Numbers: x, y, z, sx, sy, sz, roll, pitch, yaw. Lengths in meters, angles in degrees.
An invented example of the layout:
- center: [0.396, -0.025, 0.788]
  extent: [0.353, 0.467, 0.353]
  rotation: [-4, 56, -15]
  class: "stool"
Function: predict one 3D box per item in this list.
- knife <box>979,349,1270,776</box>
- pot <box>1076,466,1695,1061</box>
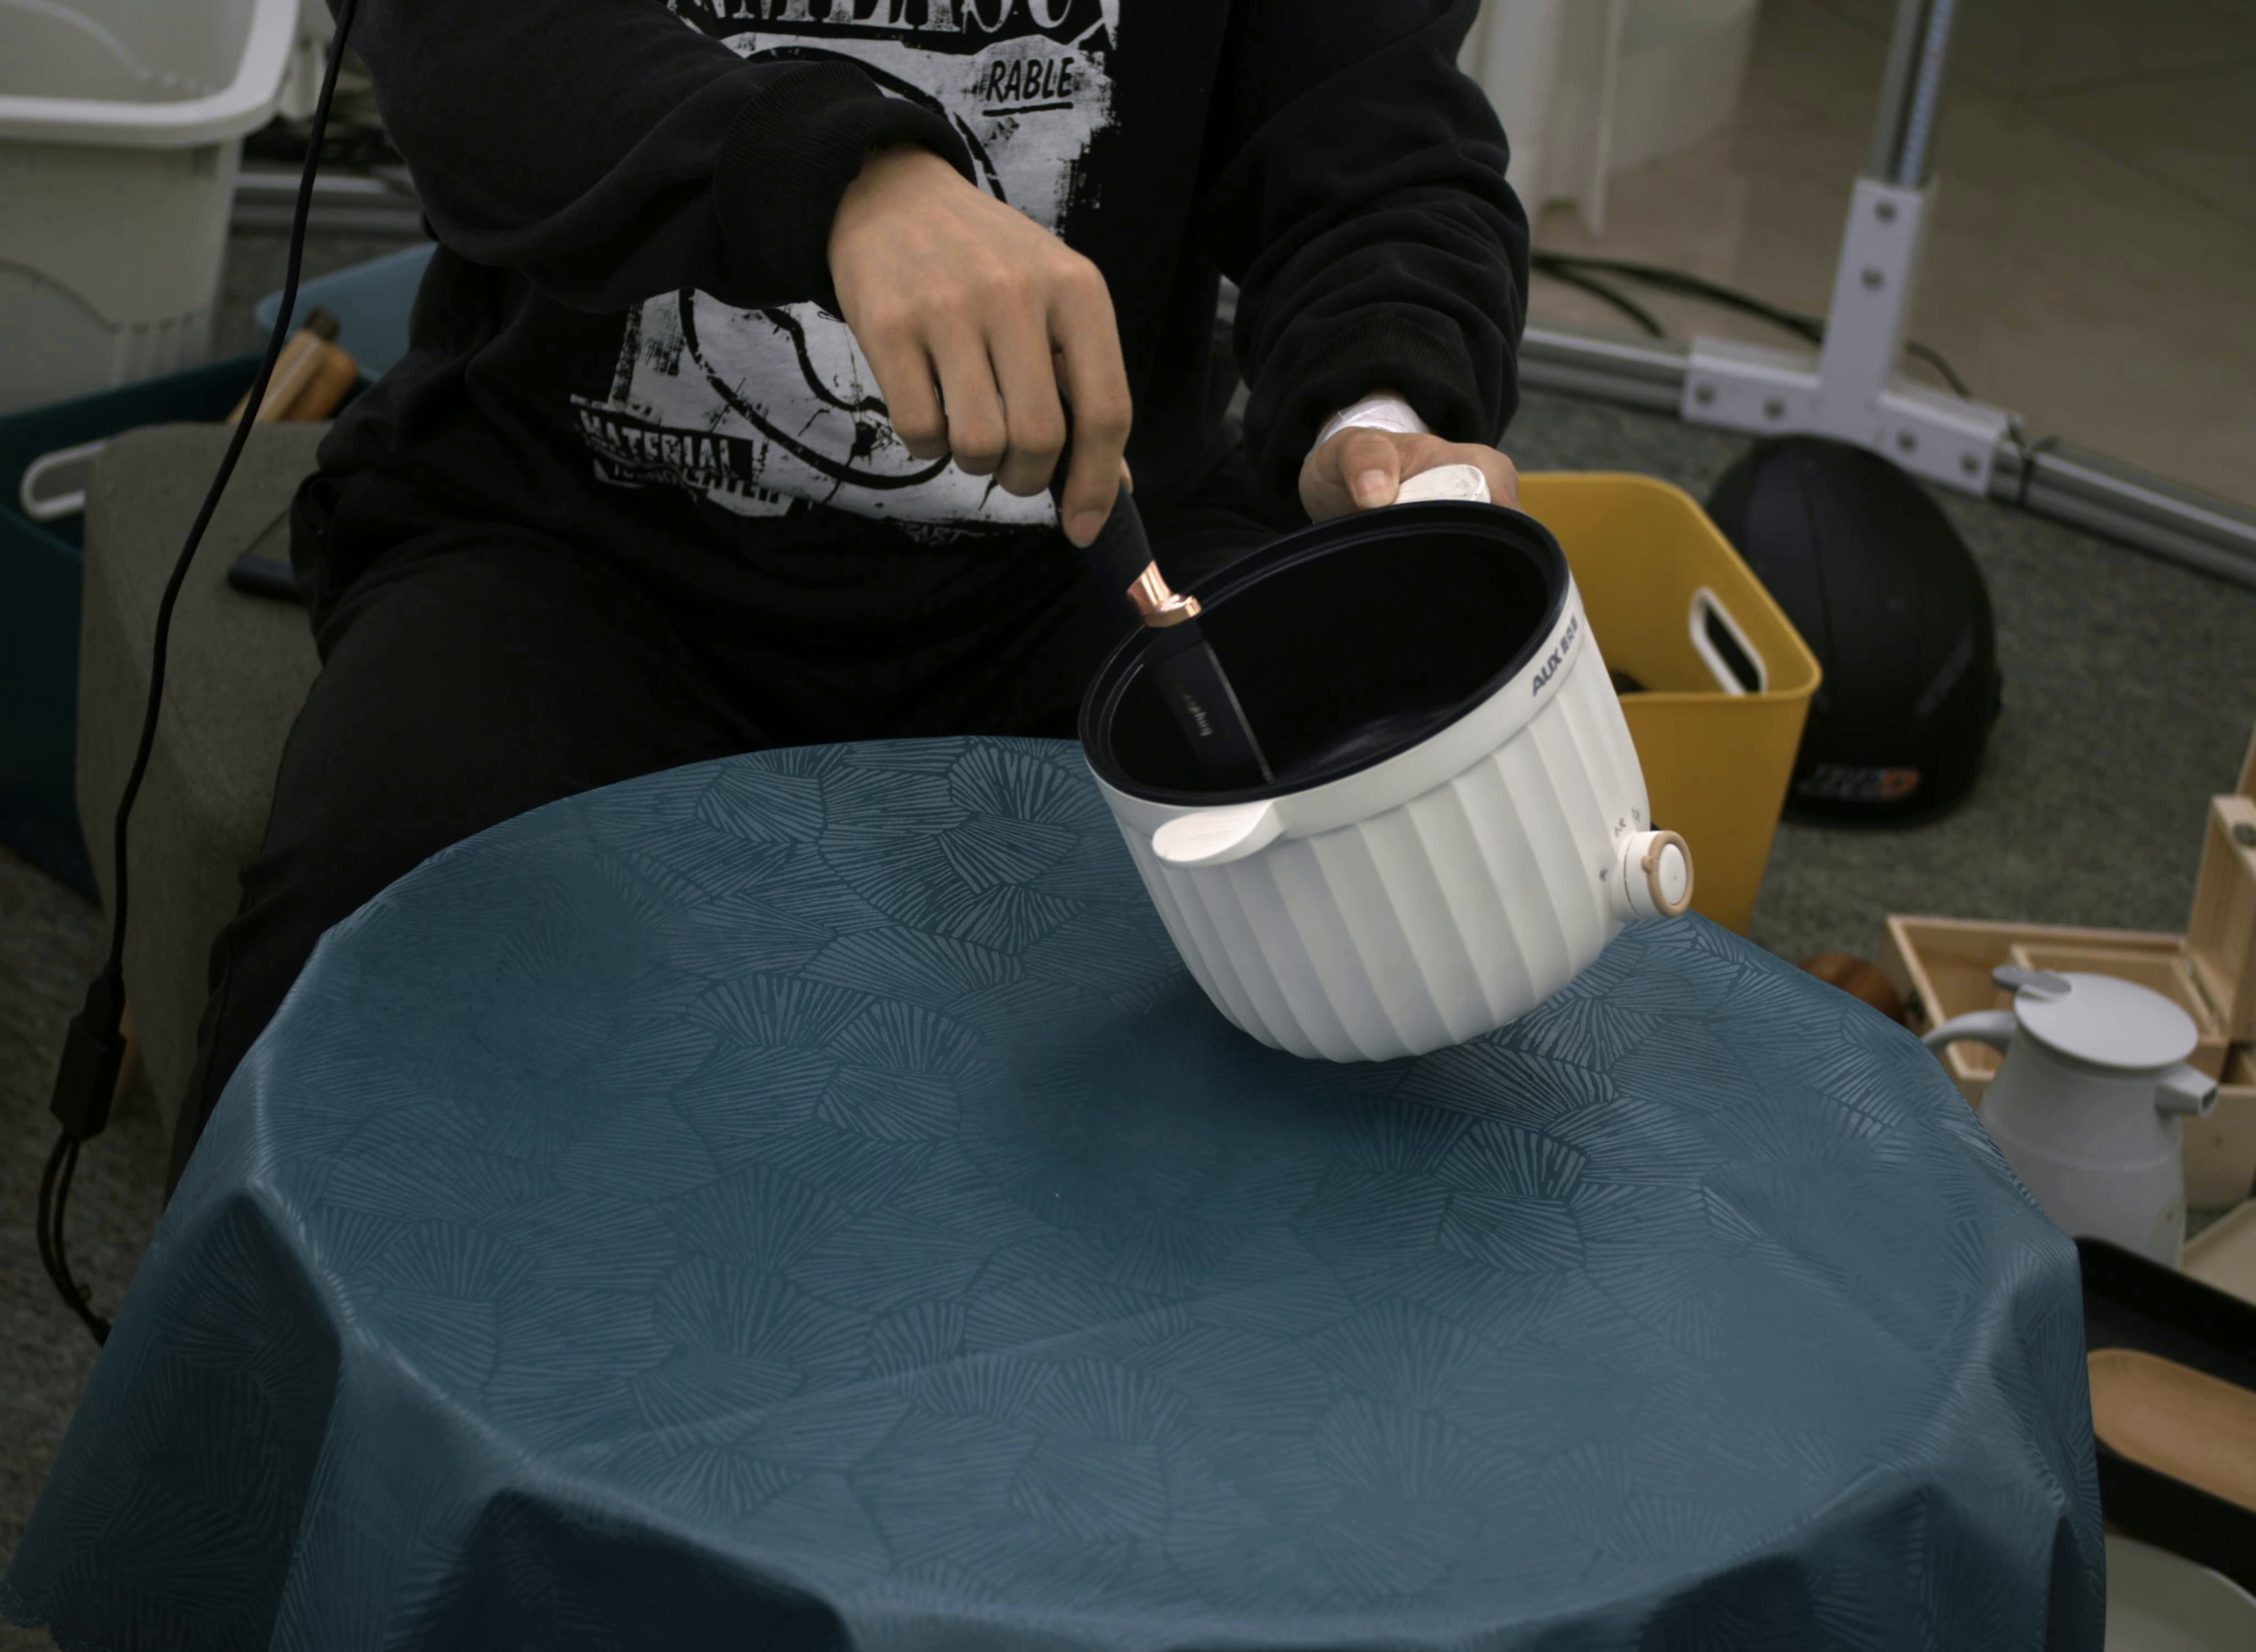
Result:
- center: [0.010, -0.065, 1.809]
  extent: [0.026, 0.225, 0.017]
  rotation: [-31, 12, -6]
  class: "knife"
- center: [0.095, -0.011, 1.877]
  extent: [0.191, 0.142, 0.241]
  rotation: [-8, 33, 35]
  class: "pot"
